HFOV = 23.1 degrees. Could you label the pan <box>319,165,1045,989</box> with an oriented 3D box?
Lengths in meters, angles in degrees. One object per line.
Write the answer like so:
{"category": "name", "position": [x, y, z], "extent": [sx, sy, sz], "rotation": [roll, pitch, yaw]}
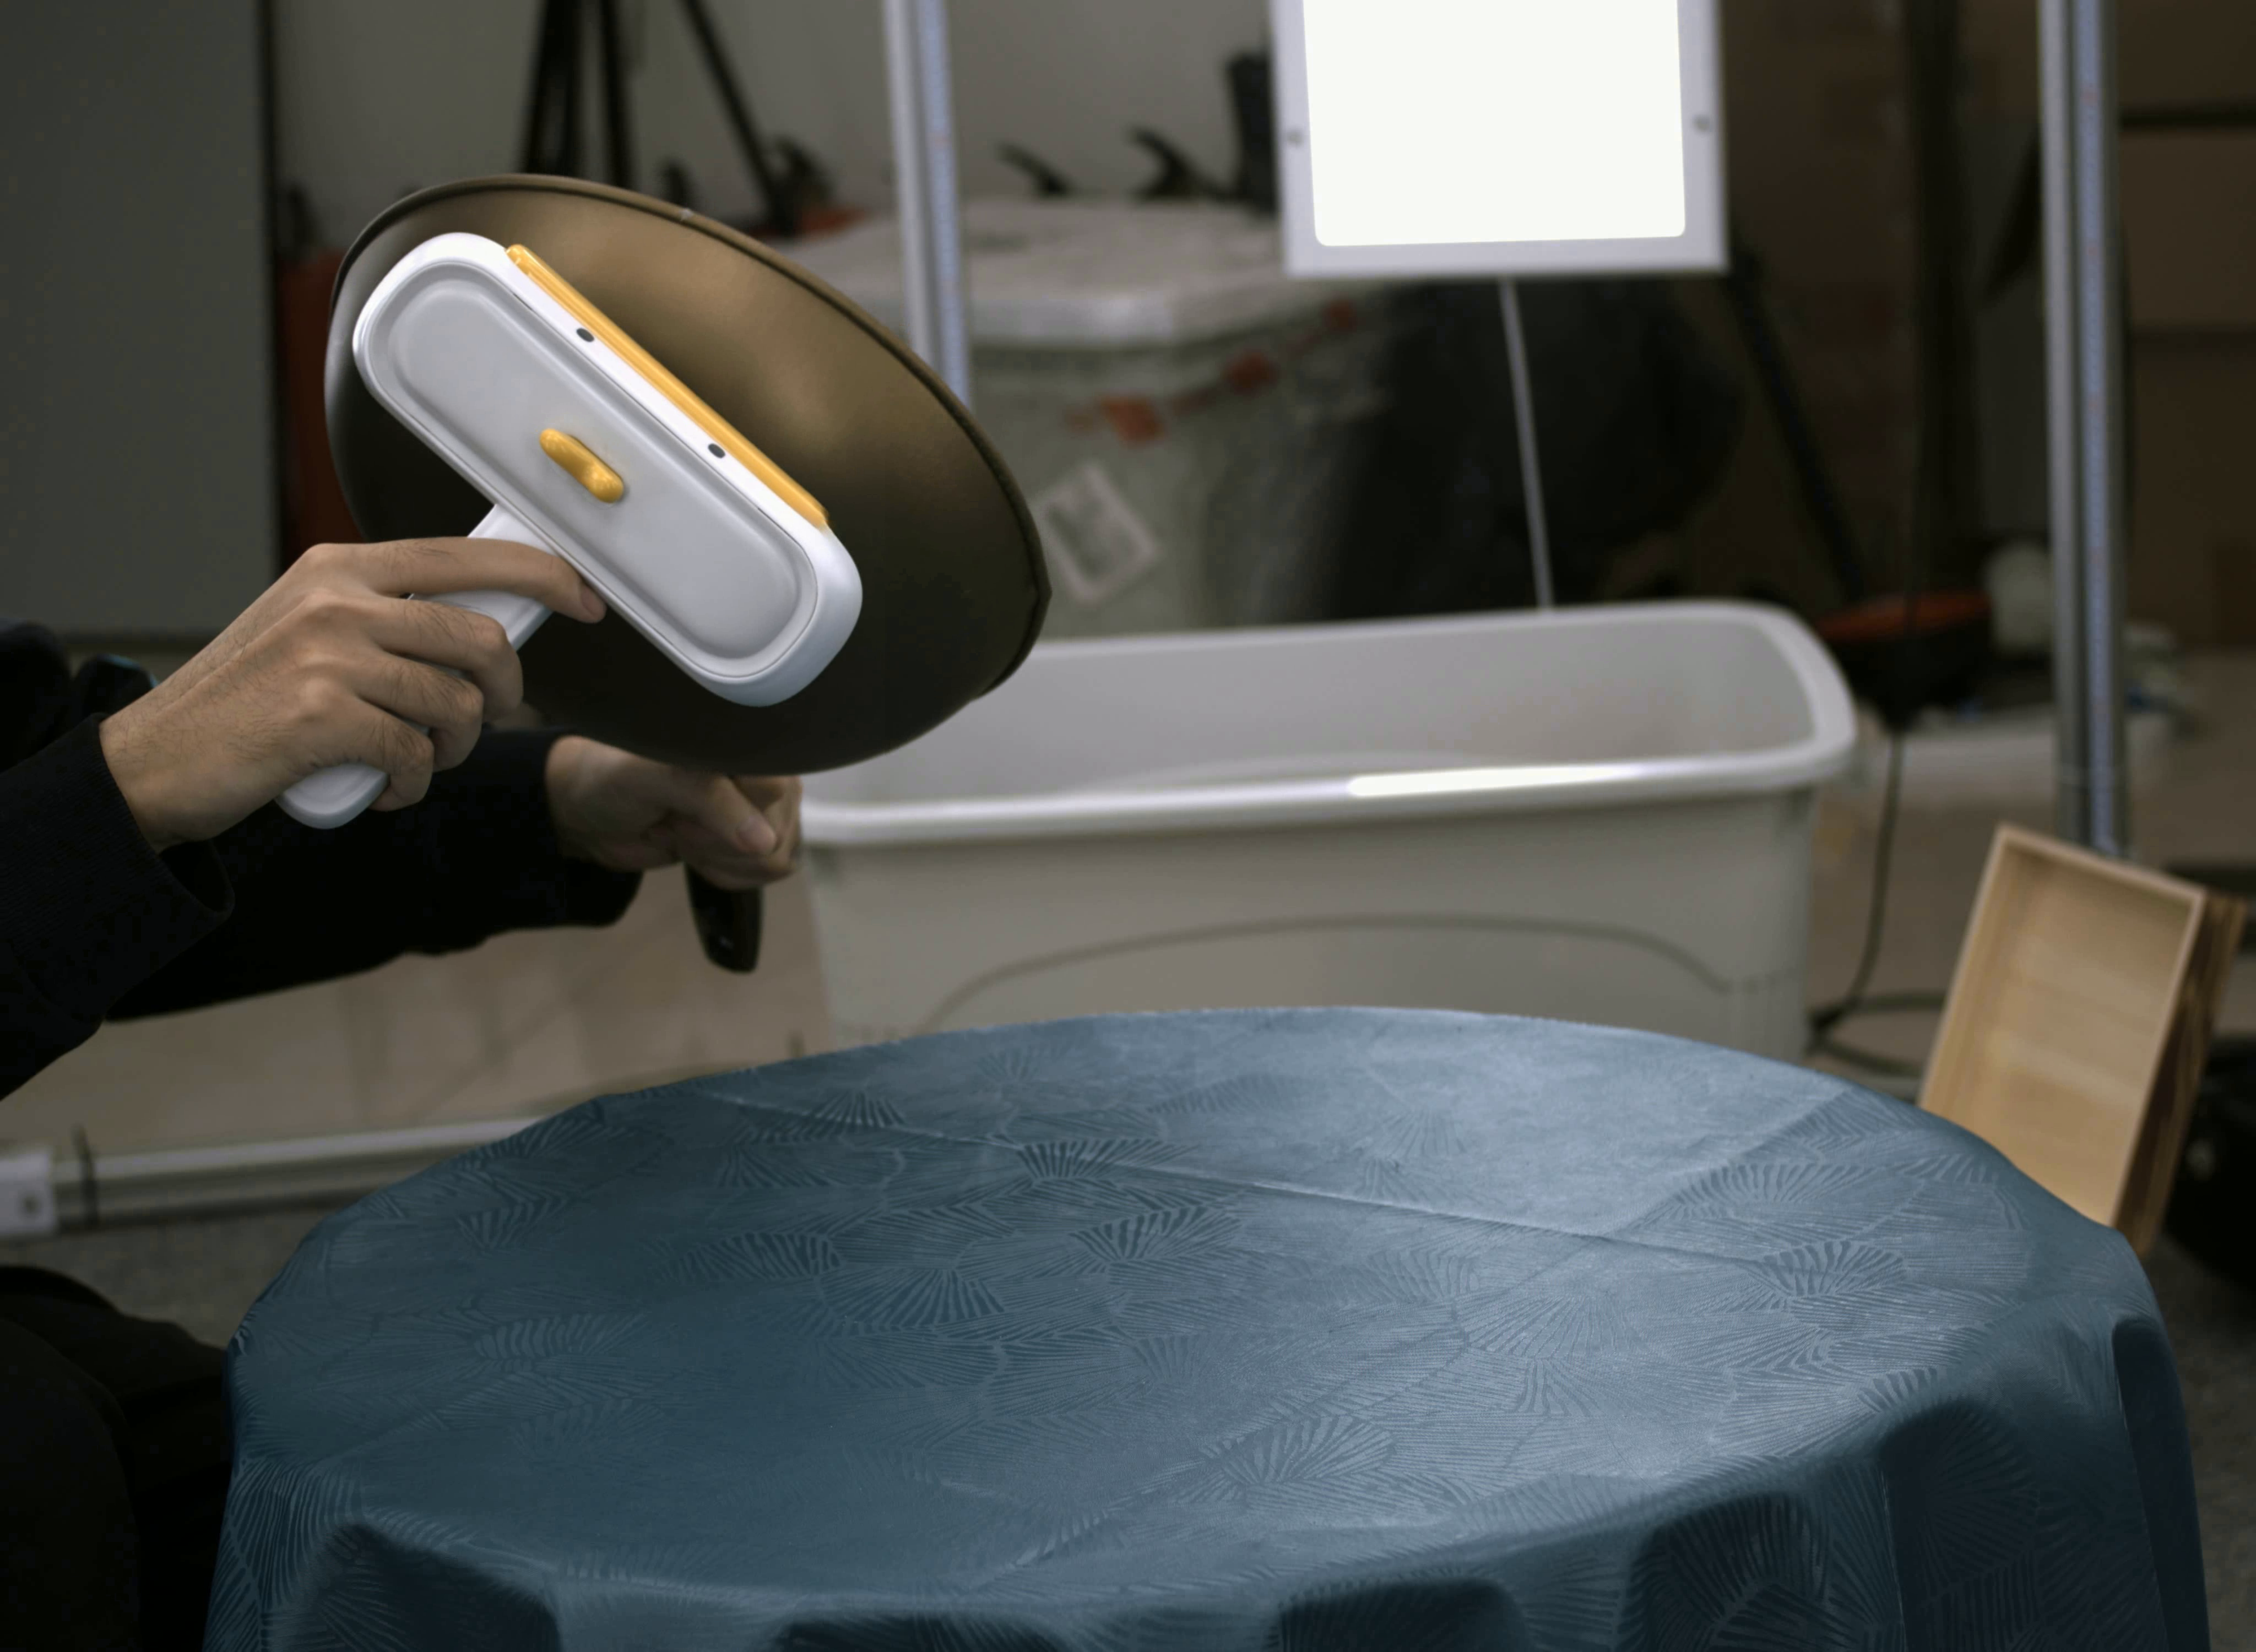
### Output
{"category": "pan", "position": [-0.174, -0.052, 2.035], "extent": [0.290, 0.465, 0.086], "rotation": [20, 57, 14]}

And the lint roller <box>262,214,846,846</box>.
{"category": "lint roller", "position": [-0.213, -0.076, 1.800], "extent": [0.192, 0.192, 0.074], "rotation": [37, 0, -2]}
